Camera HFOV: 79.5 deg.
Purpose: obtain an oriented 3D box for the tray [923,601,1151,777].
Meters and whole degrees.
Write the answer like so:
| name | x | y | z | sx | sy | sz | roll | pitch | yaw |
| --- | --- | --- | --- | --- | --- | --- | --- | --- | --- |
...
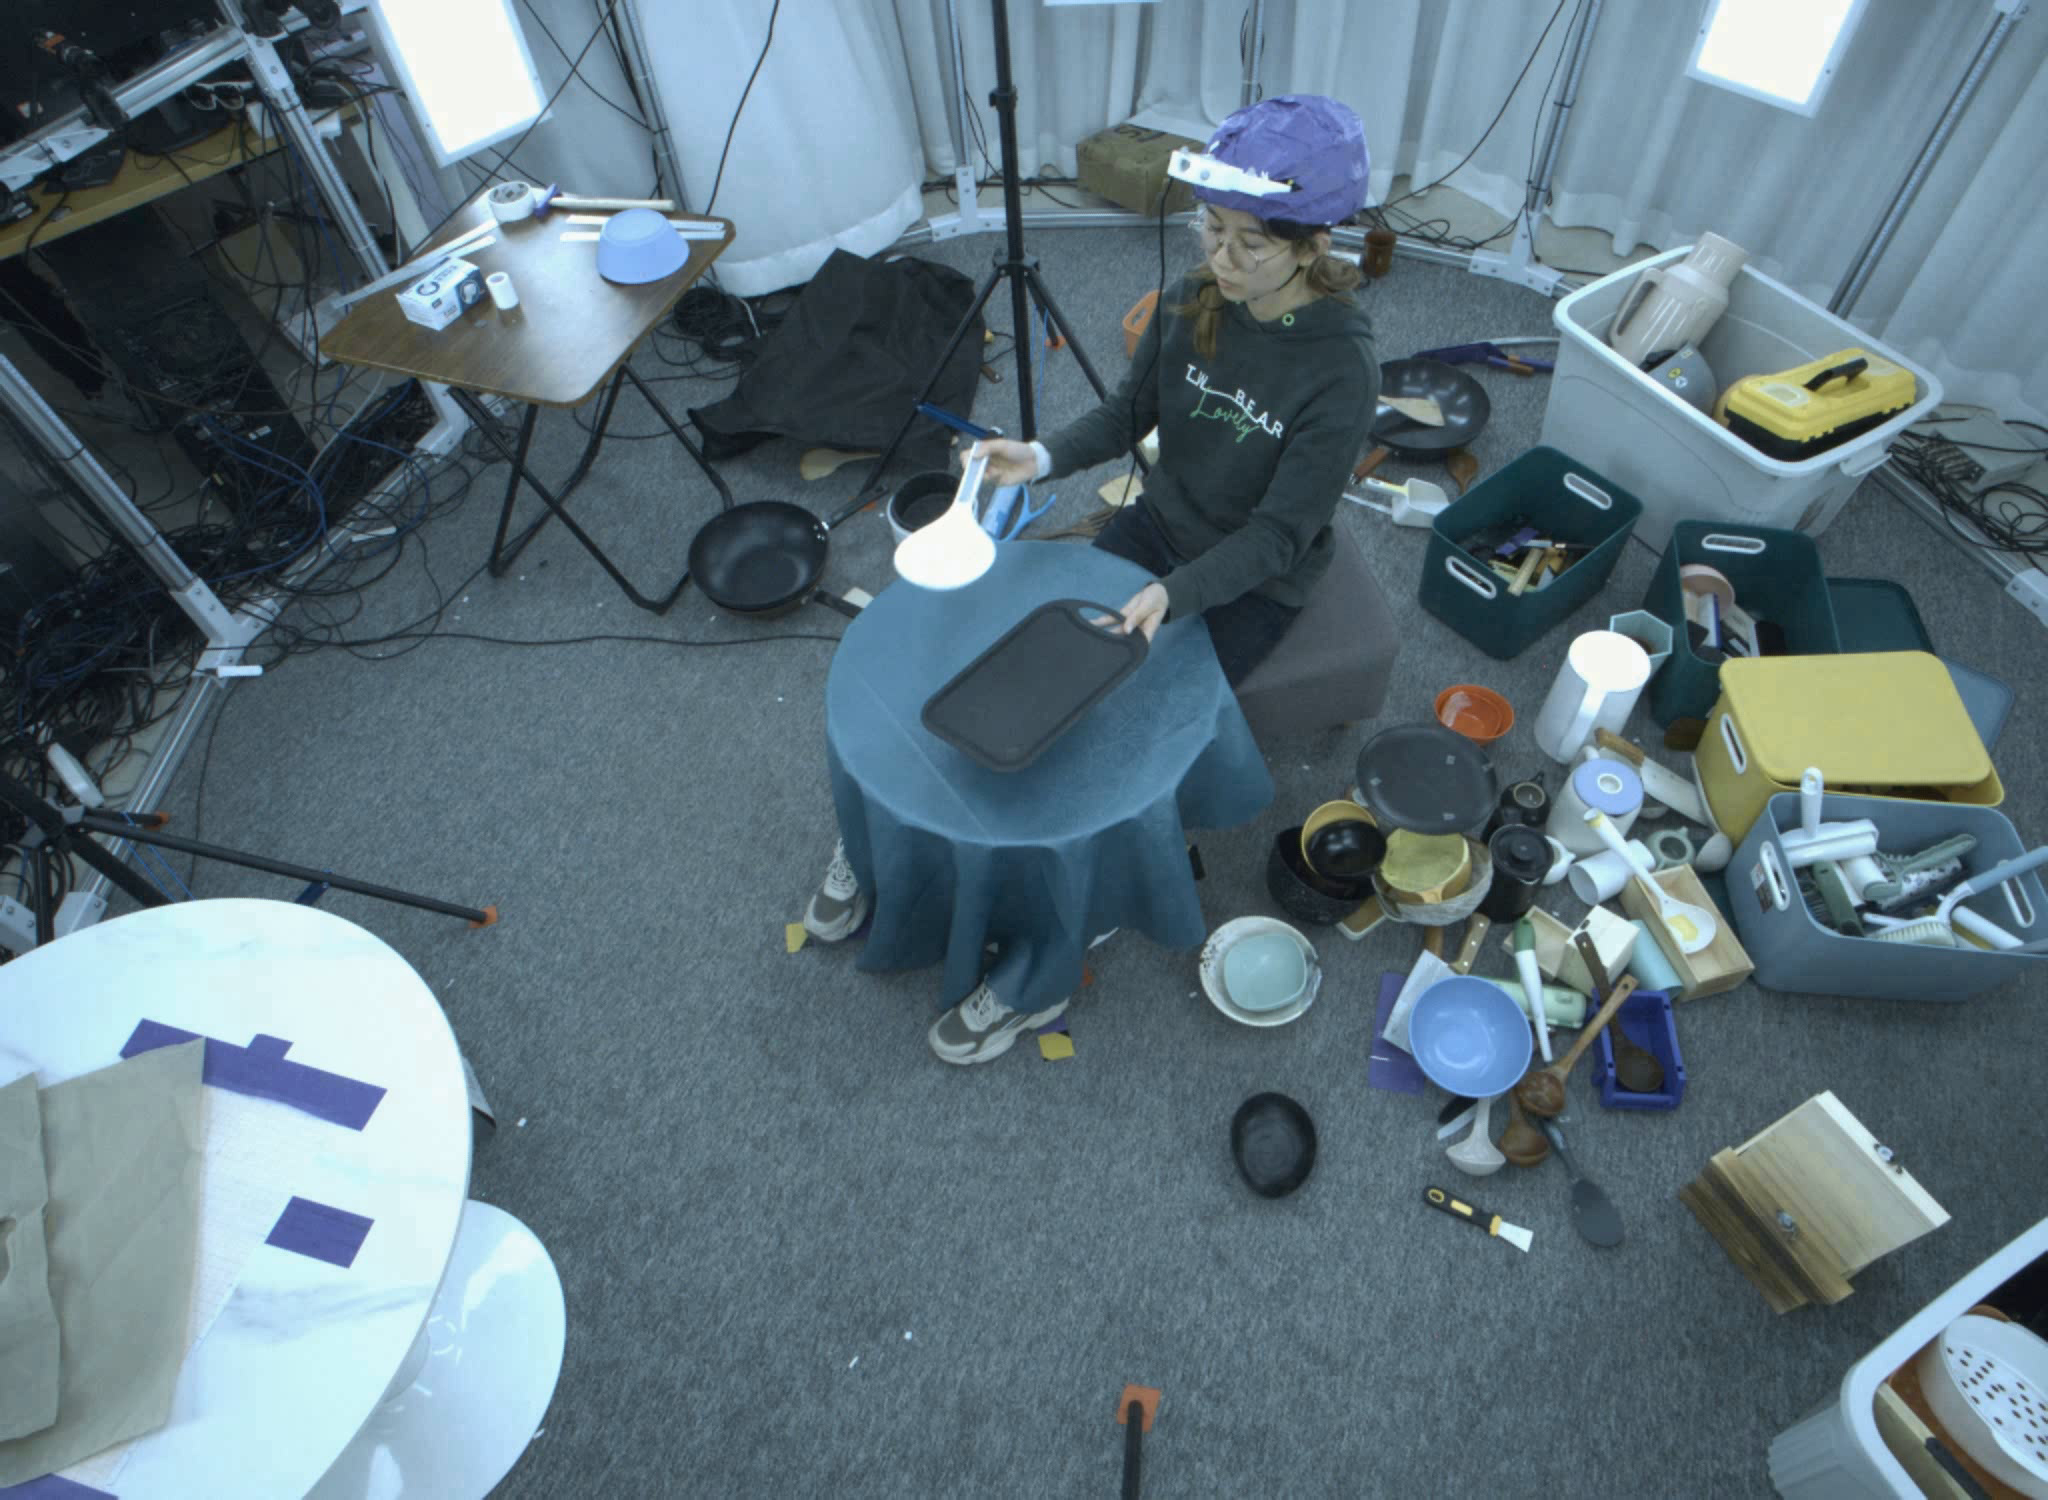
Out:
| name | x | y | z | sx | sy | sz | roll | pitch | yaw |
| --- | --- | --- | --- | --- | --- | --- | --- | --- | --- |
| tray | 0.023 | -0.099 | 1.730 | 0.206 | 0.010 | 0.327 | 33 | 63 | 33 |

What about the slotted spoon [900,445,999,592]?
| name | x | y | z | sx | sy | sz | roll | pitch | yaw |
| --- | --- | --- | --- | --- | --- | --- | --- | --- | --- |
| slotted spoon | -0.087 | -0.337 | 1.742 | 0.135 | 0.046 | 0.347 | 6 | 53 | 5 |
